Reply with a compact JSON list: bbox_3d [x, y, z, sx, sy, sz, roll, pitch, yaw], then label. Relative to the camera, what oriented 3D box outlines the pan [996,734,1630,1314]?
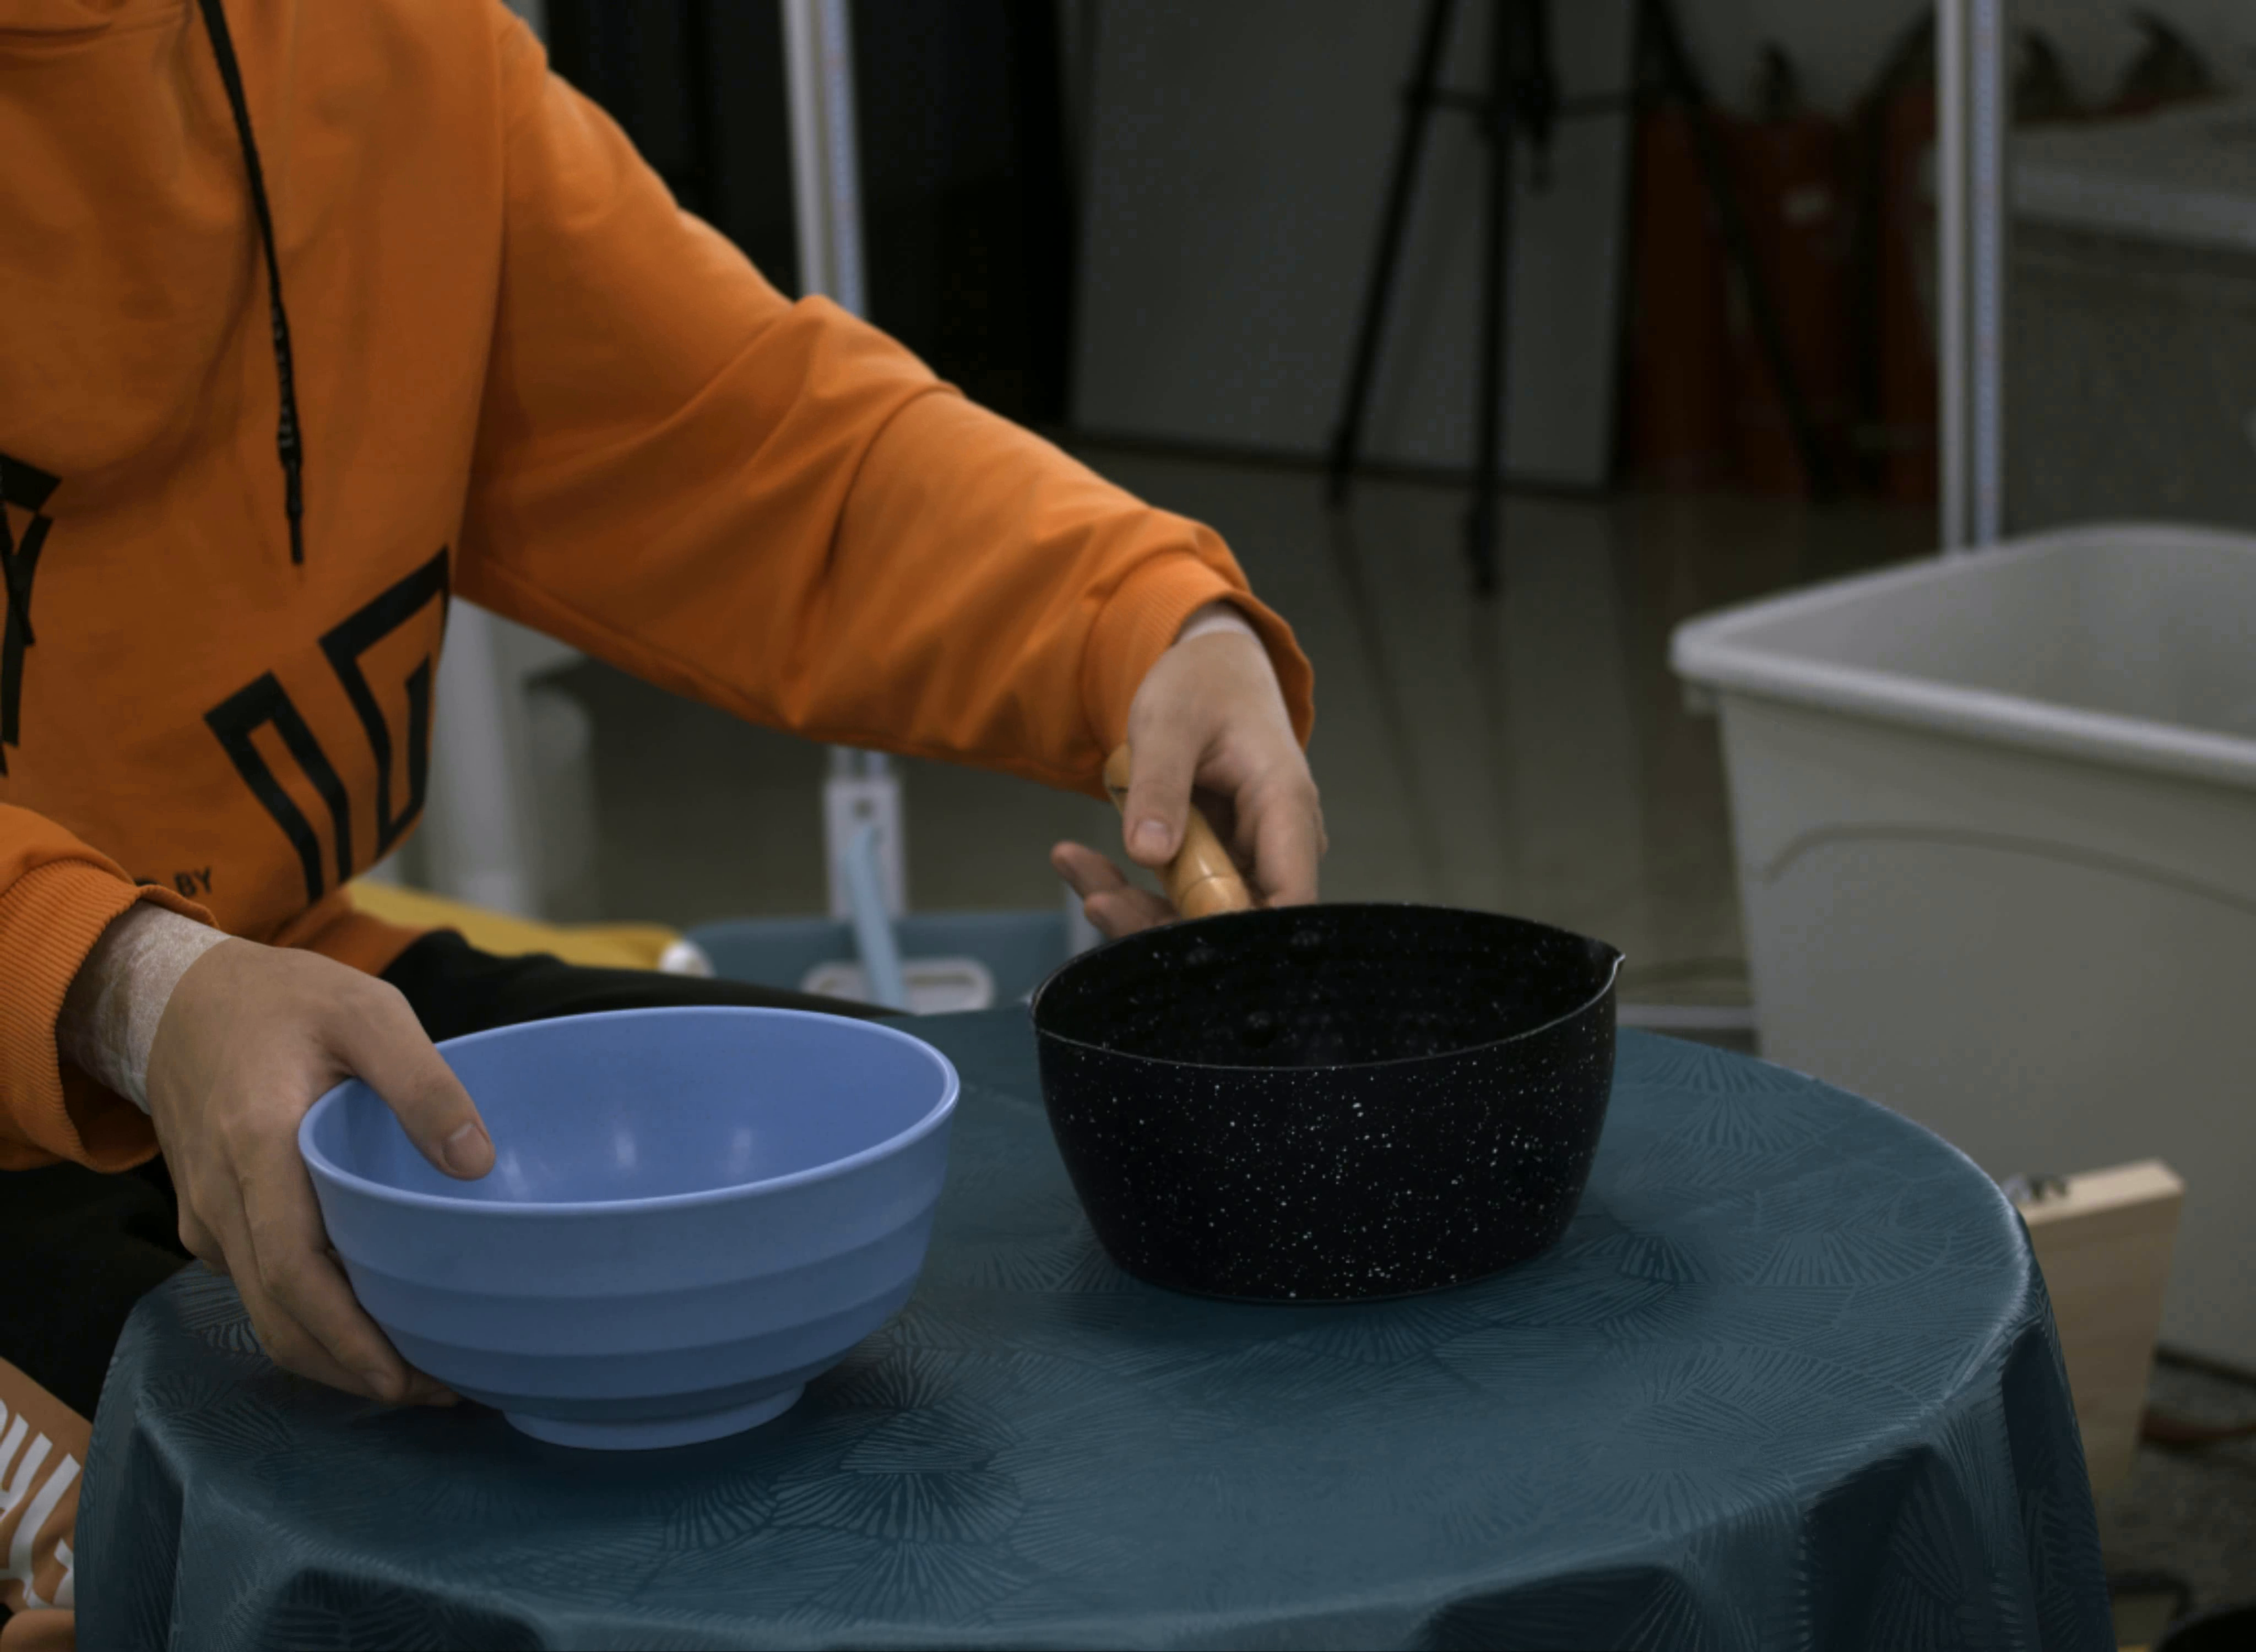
[{"bbox_3d":[0.043,0.060,1.779,0.203,0.109,0.345,-8,16,-12],"label":"pan"}]

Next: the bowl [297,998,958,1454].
[{"bbox_3d":[-0.143,0.124,1.597,0.194,0.096,0.197,-4,15,0],"label":"bowl"}]
